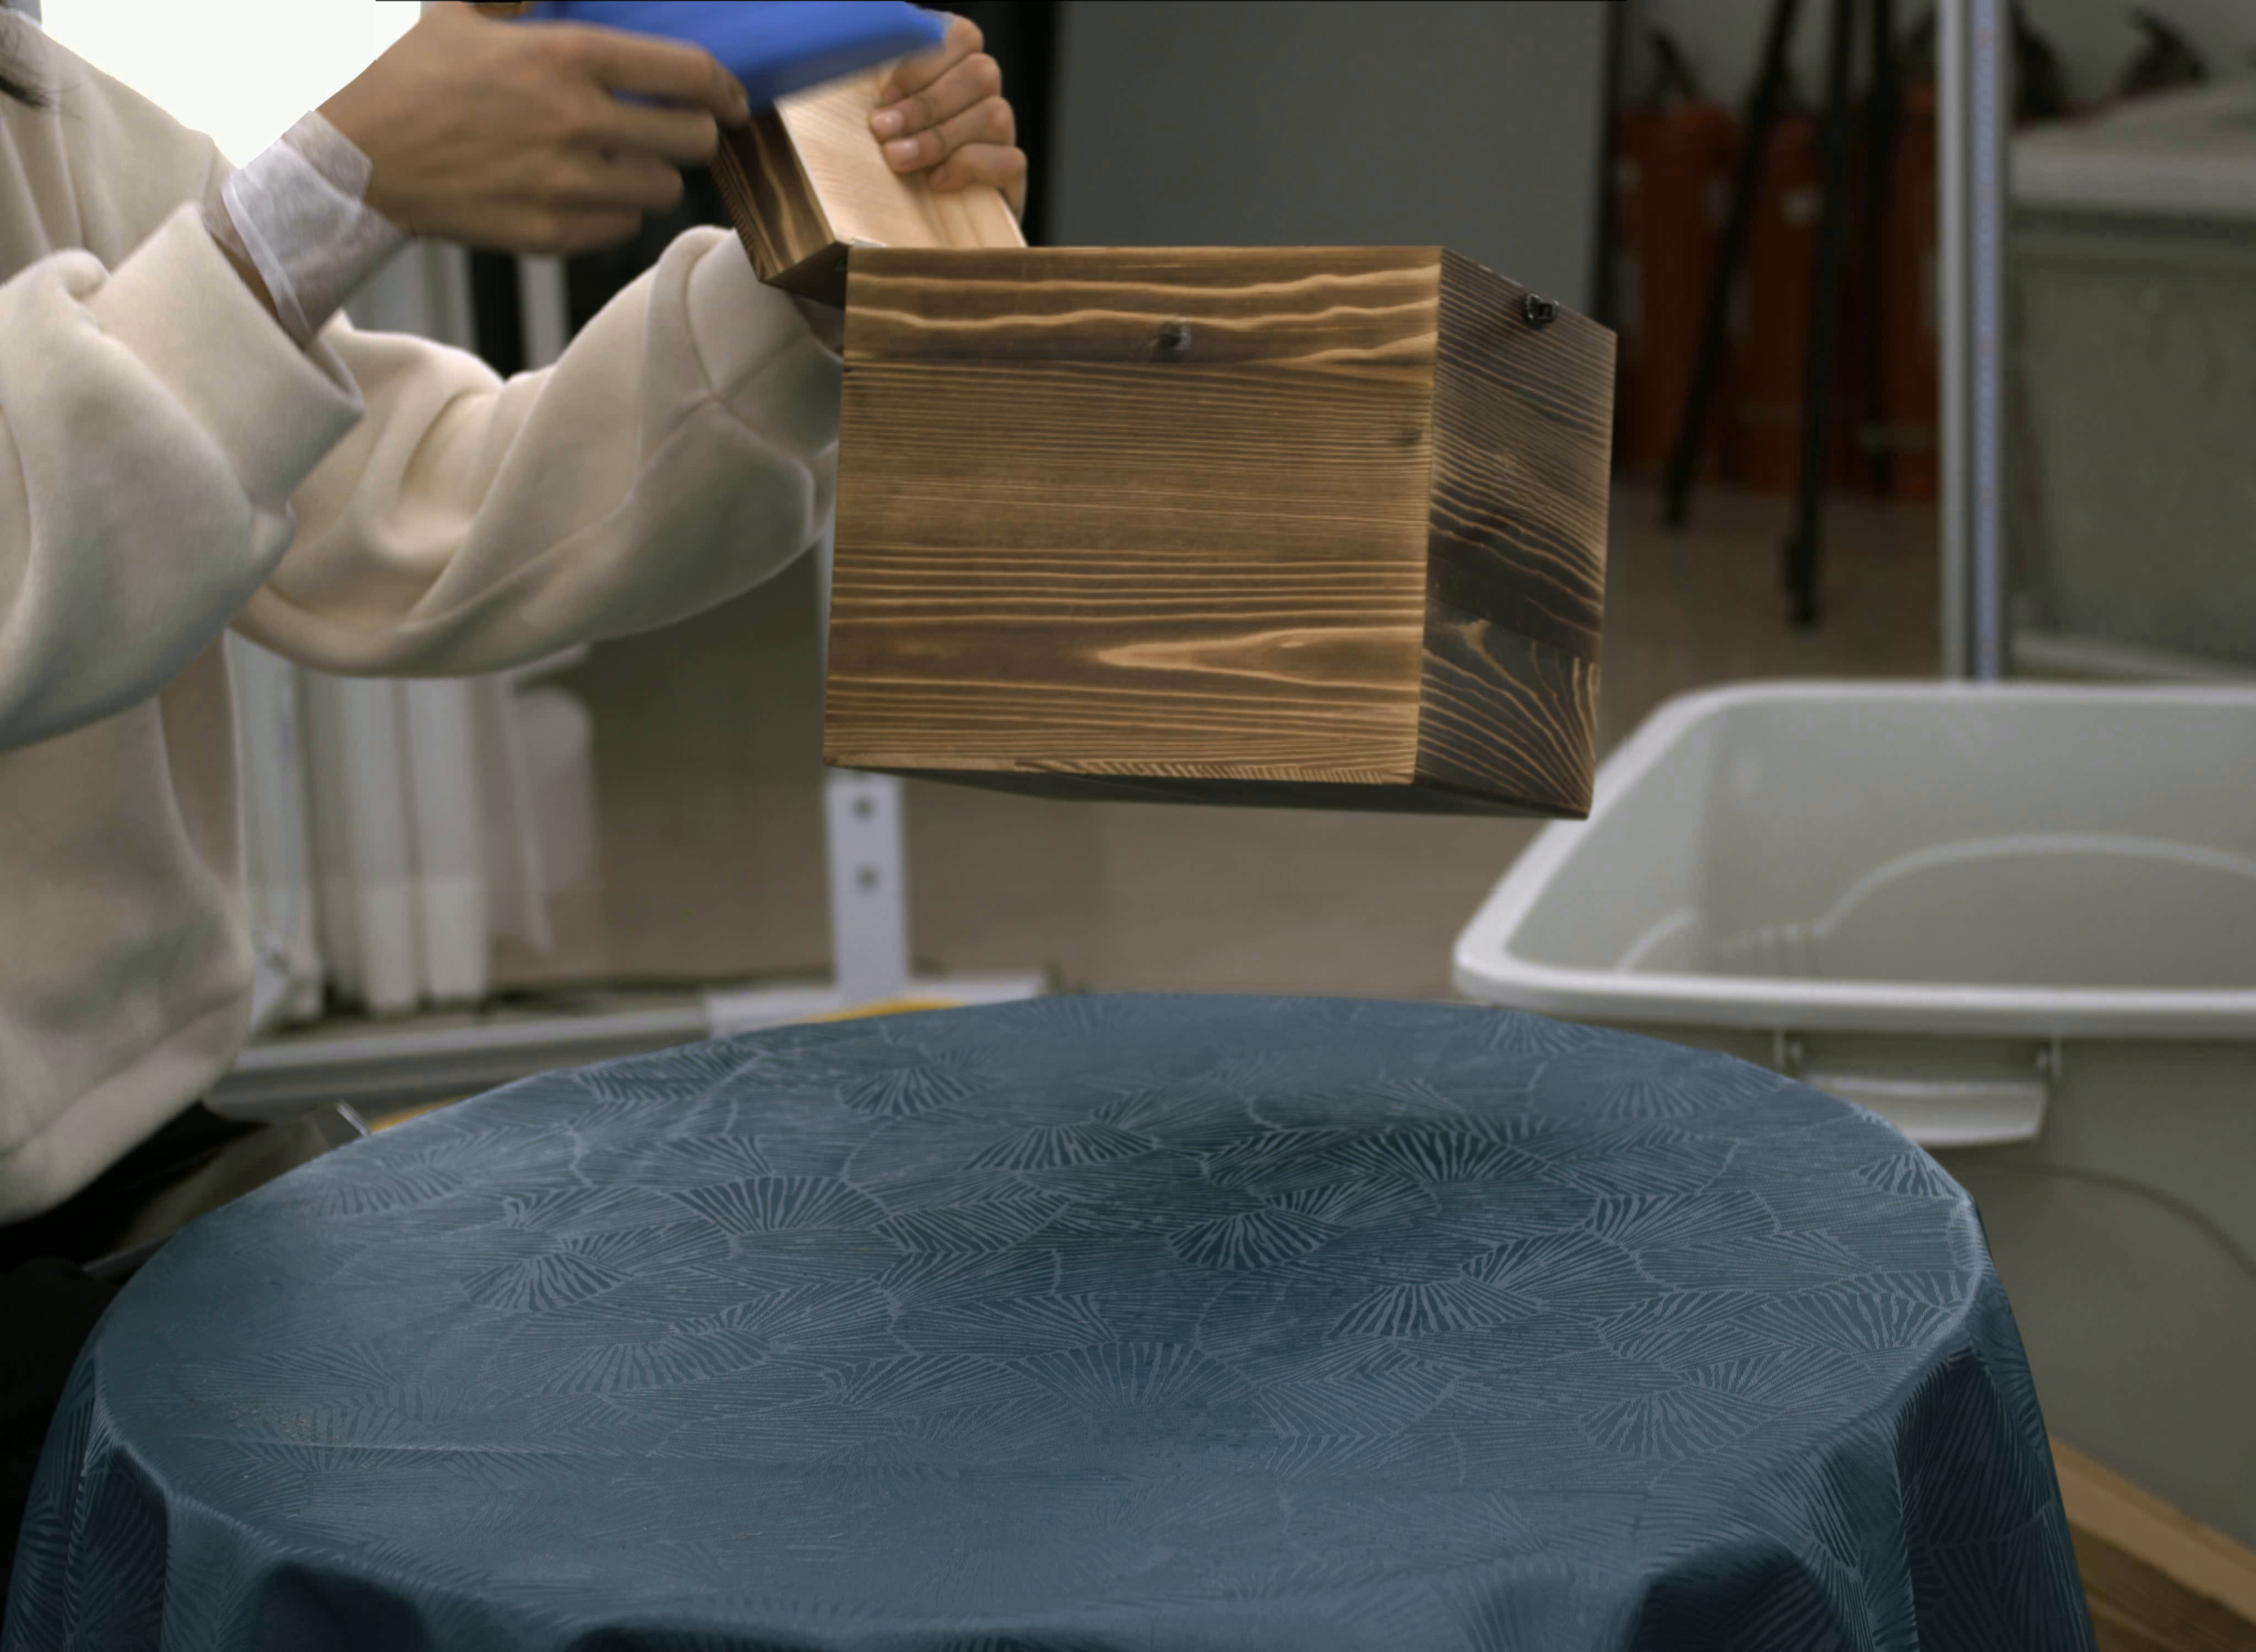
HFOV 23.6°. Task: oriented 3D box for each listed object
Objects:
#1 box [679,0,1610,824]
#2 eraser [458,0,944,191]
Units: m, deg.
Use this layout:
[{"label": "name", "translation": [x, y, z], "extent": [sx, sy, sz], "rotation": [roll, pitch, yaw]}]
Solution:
[{"label": "box", "translation": [-0.011, -0.192, 1.799], "extent": [0.322, 0.380, 0.206], "rotation": [0, -3, 22]}, {"label": "eraser", "translation": [-0.138, -0.252, 1.725], "extent": [0.162, 0.054, 0.047], "rotation": [-17, -14, 18]}]
